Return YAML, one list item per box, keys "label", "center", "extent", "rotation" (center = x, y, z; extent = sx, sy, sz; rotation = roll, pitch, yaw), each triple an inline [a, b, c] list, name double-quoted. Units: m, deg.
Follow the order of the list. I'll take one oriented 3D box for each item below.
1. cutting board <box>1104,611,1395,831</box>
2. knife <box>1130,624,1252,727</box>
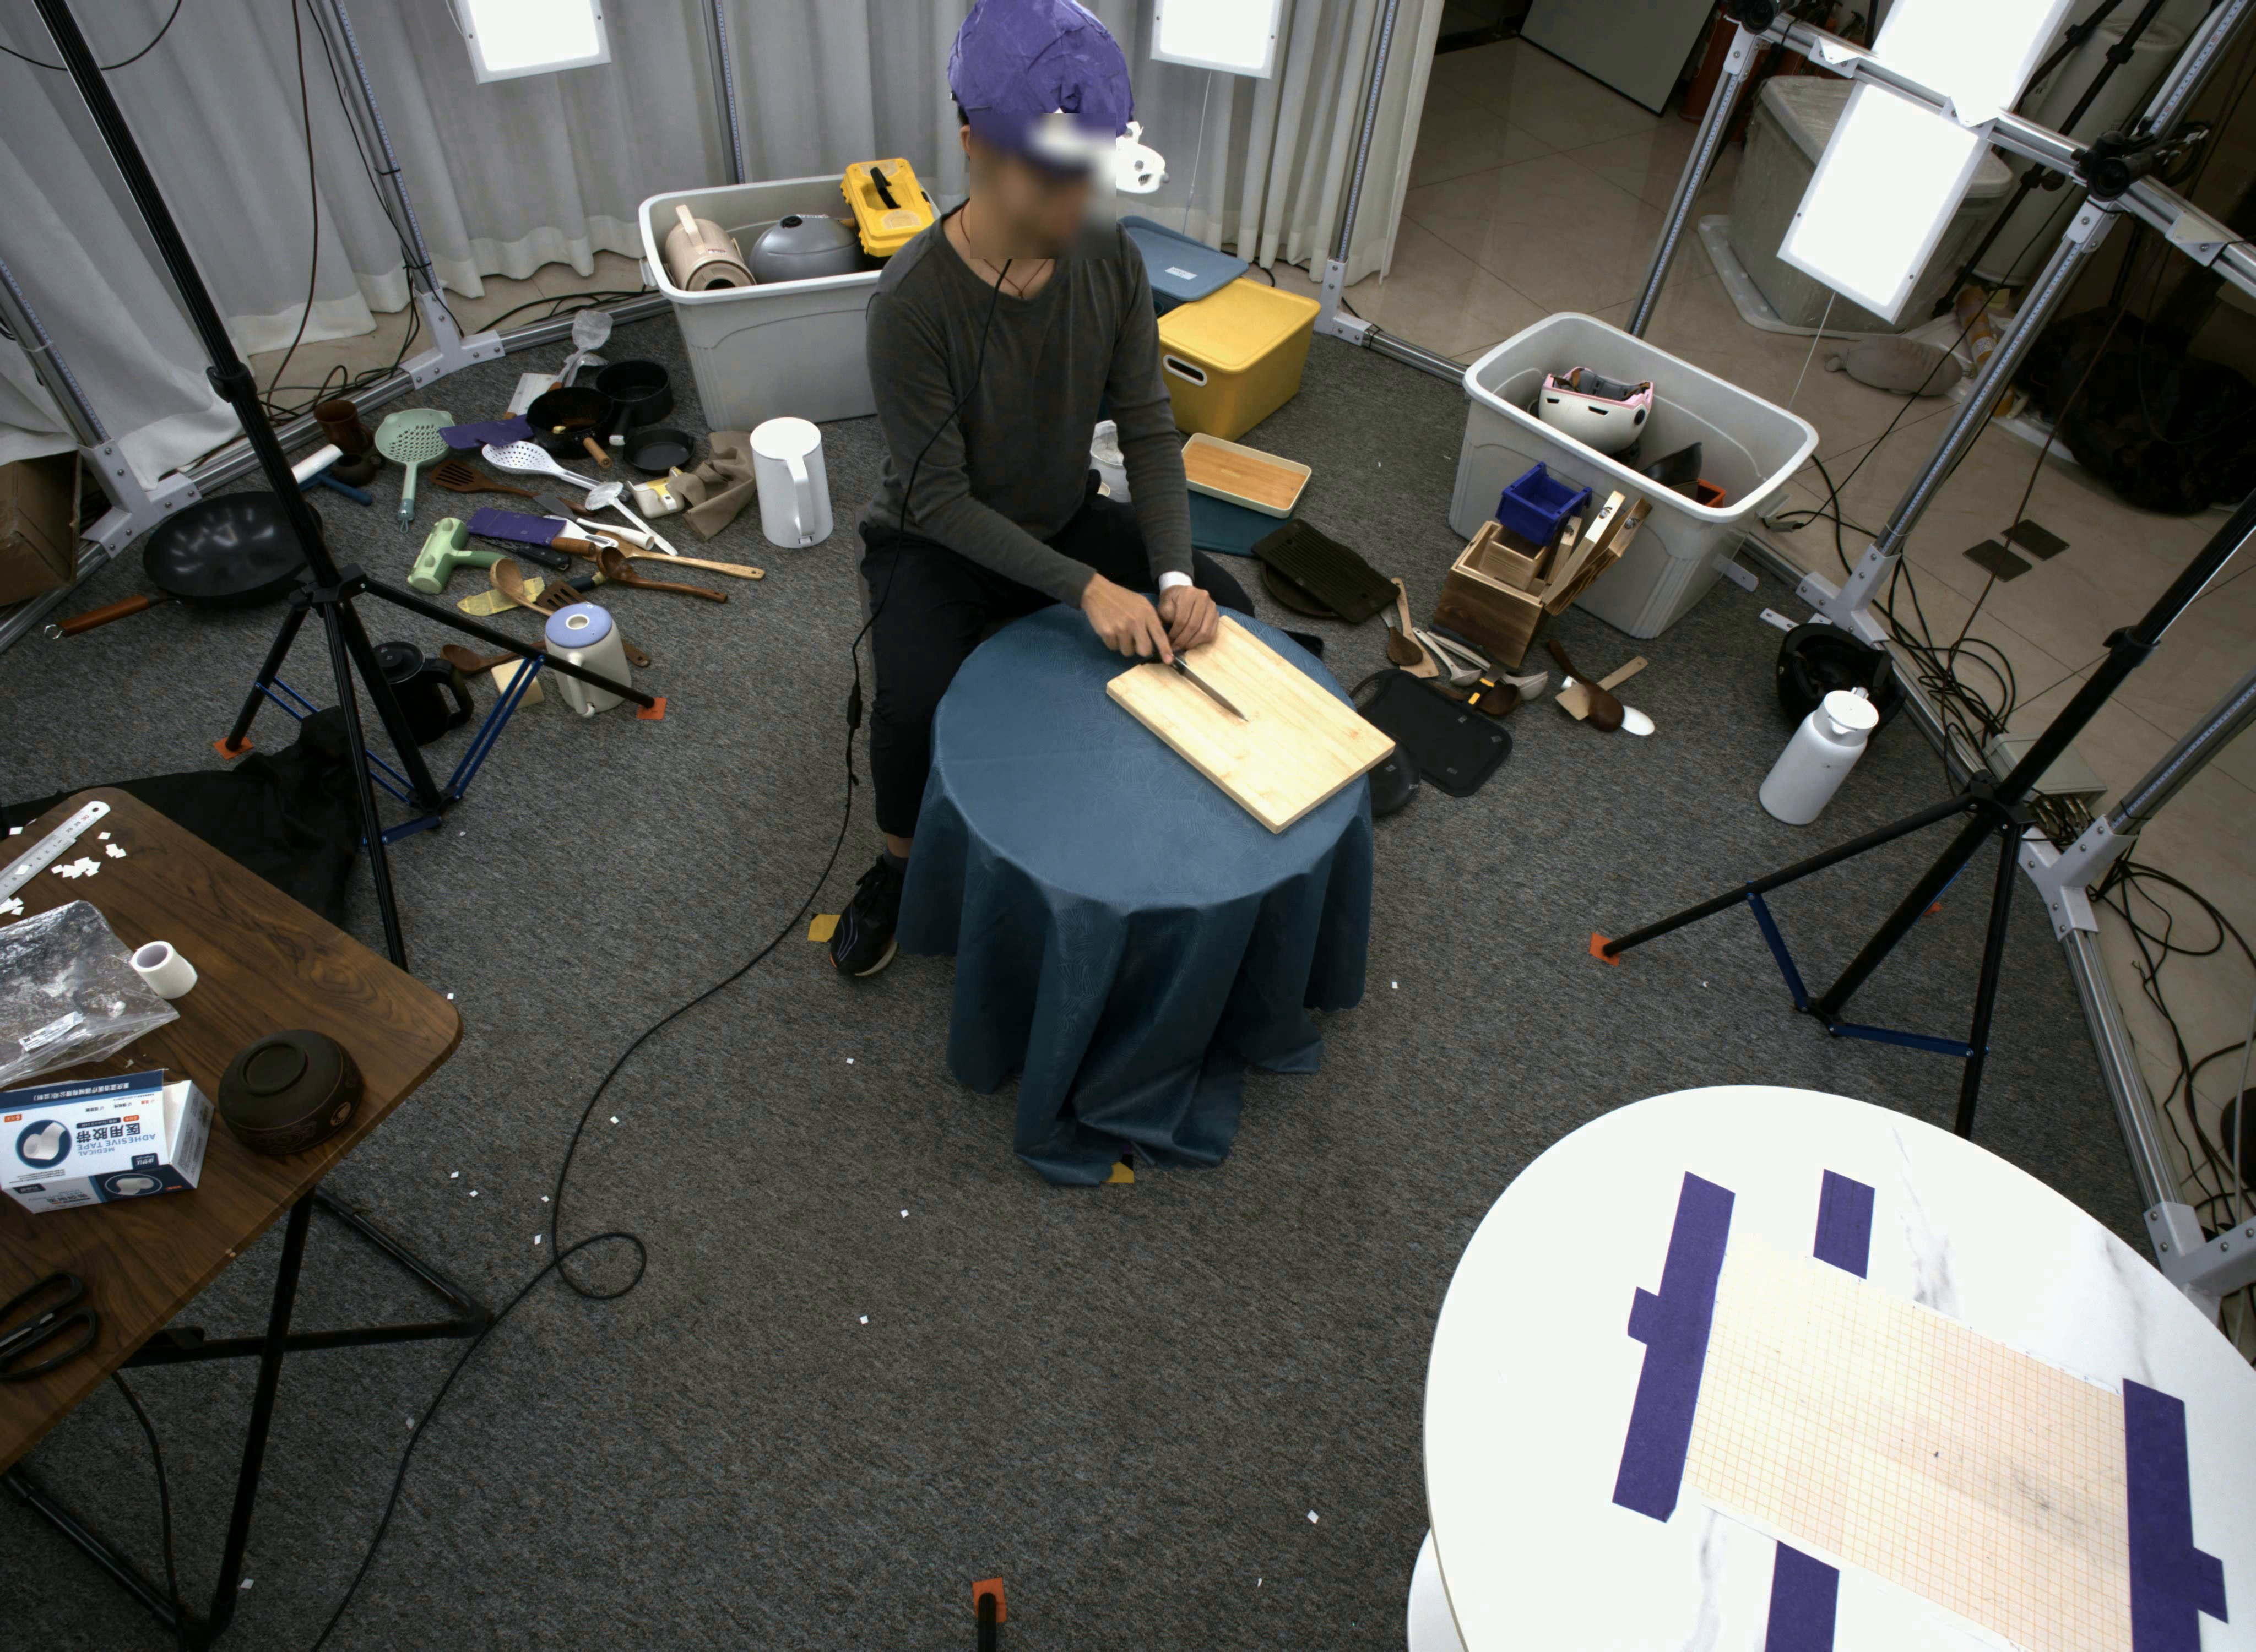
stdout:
- label: "cutting board"
  center: [0.167, -0.156, 1.804]
  extent: [0.252, 0.023, 0.354]
  rotation: [-33, 59, -28]
- label: "knife"
  center: [0.089, -0.215, 1.815]
  extent: [0.016, 0.024, 0.241]
  rotation: [-36, 66, -26]
